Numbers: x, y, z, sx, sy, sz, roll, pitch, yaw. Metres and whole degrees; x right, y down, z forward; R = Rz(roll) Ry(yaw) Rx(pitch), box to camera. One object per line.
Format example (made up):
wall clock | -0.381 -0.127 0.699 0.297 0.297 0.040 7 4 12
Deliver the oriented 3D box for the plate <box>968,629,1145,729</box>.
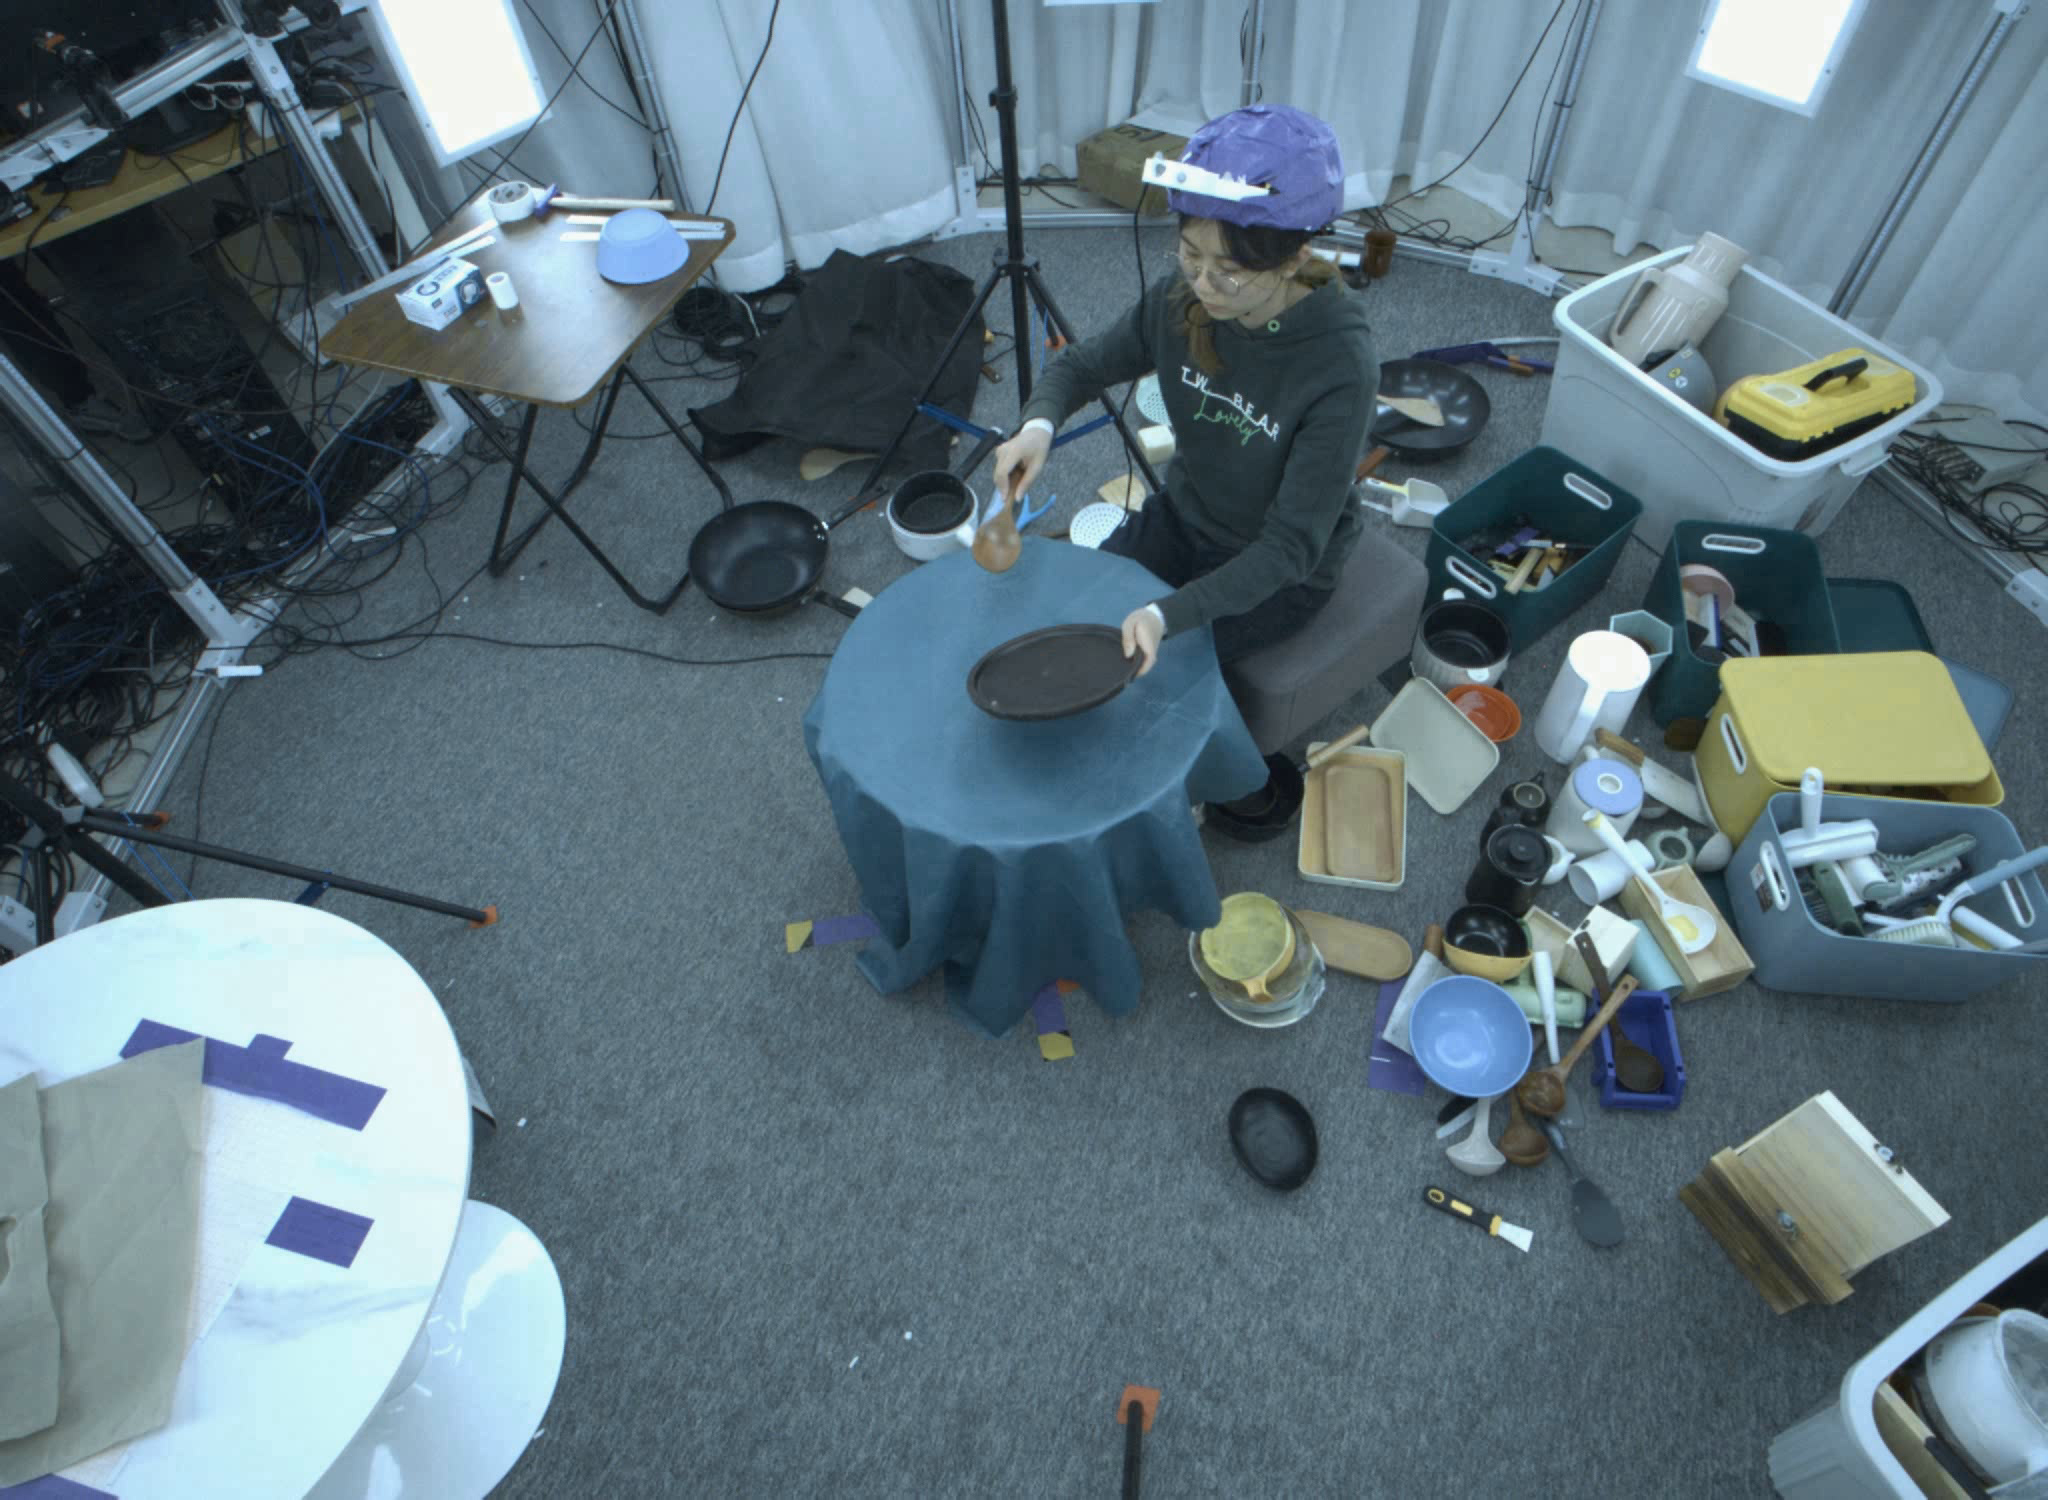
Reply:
plate | 0.045 -0.103 1.737 0.254 0.029 0.252 -8 34 7

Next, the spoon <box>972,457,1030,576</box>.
spoon | -0.026 -0.351 1.833 0.076 0.017 0.215 16 68 -5
